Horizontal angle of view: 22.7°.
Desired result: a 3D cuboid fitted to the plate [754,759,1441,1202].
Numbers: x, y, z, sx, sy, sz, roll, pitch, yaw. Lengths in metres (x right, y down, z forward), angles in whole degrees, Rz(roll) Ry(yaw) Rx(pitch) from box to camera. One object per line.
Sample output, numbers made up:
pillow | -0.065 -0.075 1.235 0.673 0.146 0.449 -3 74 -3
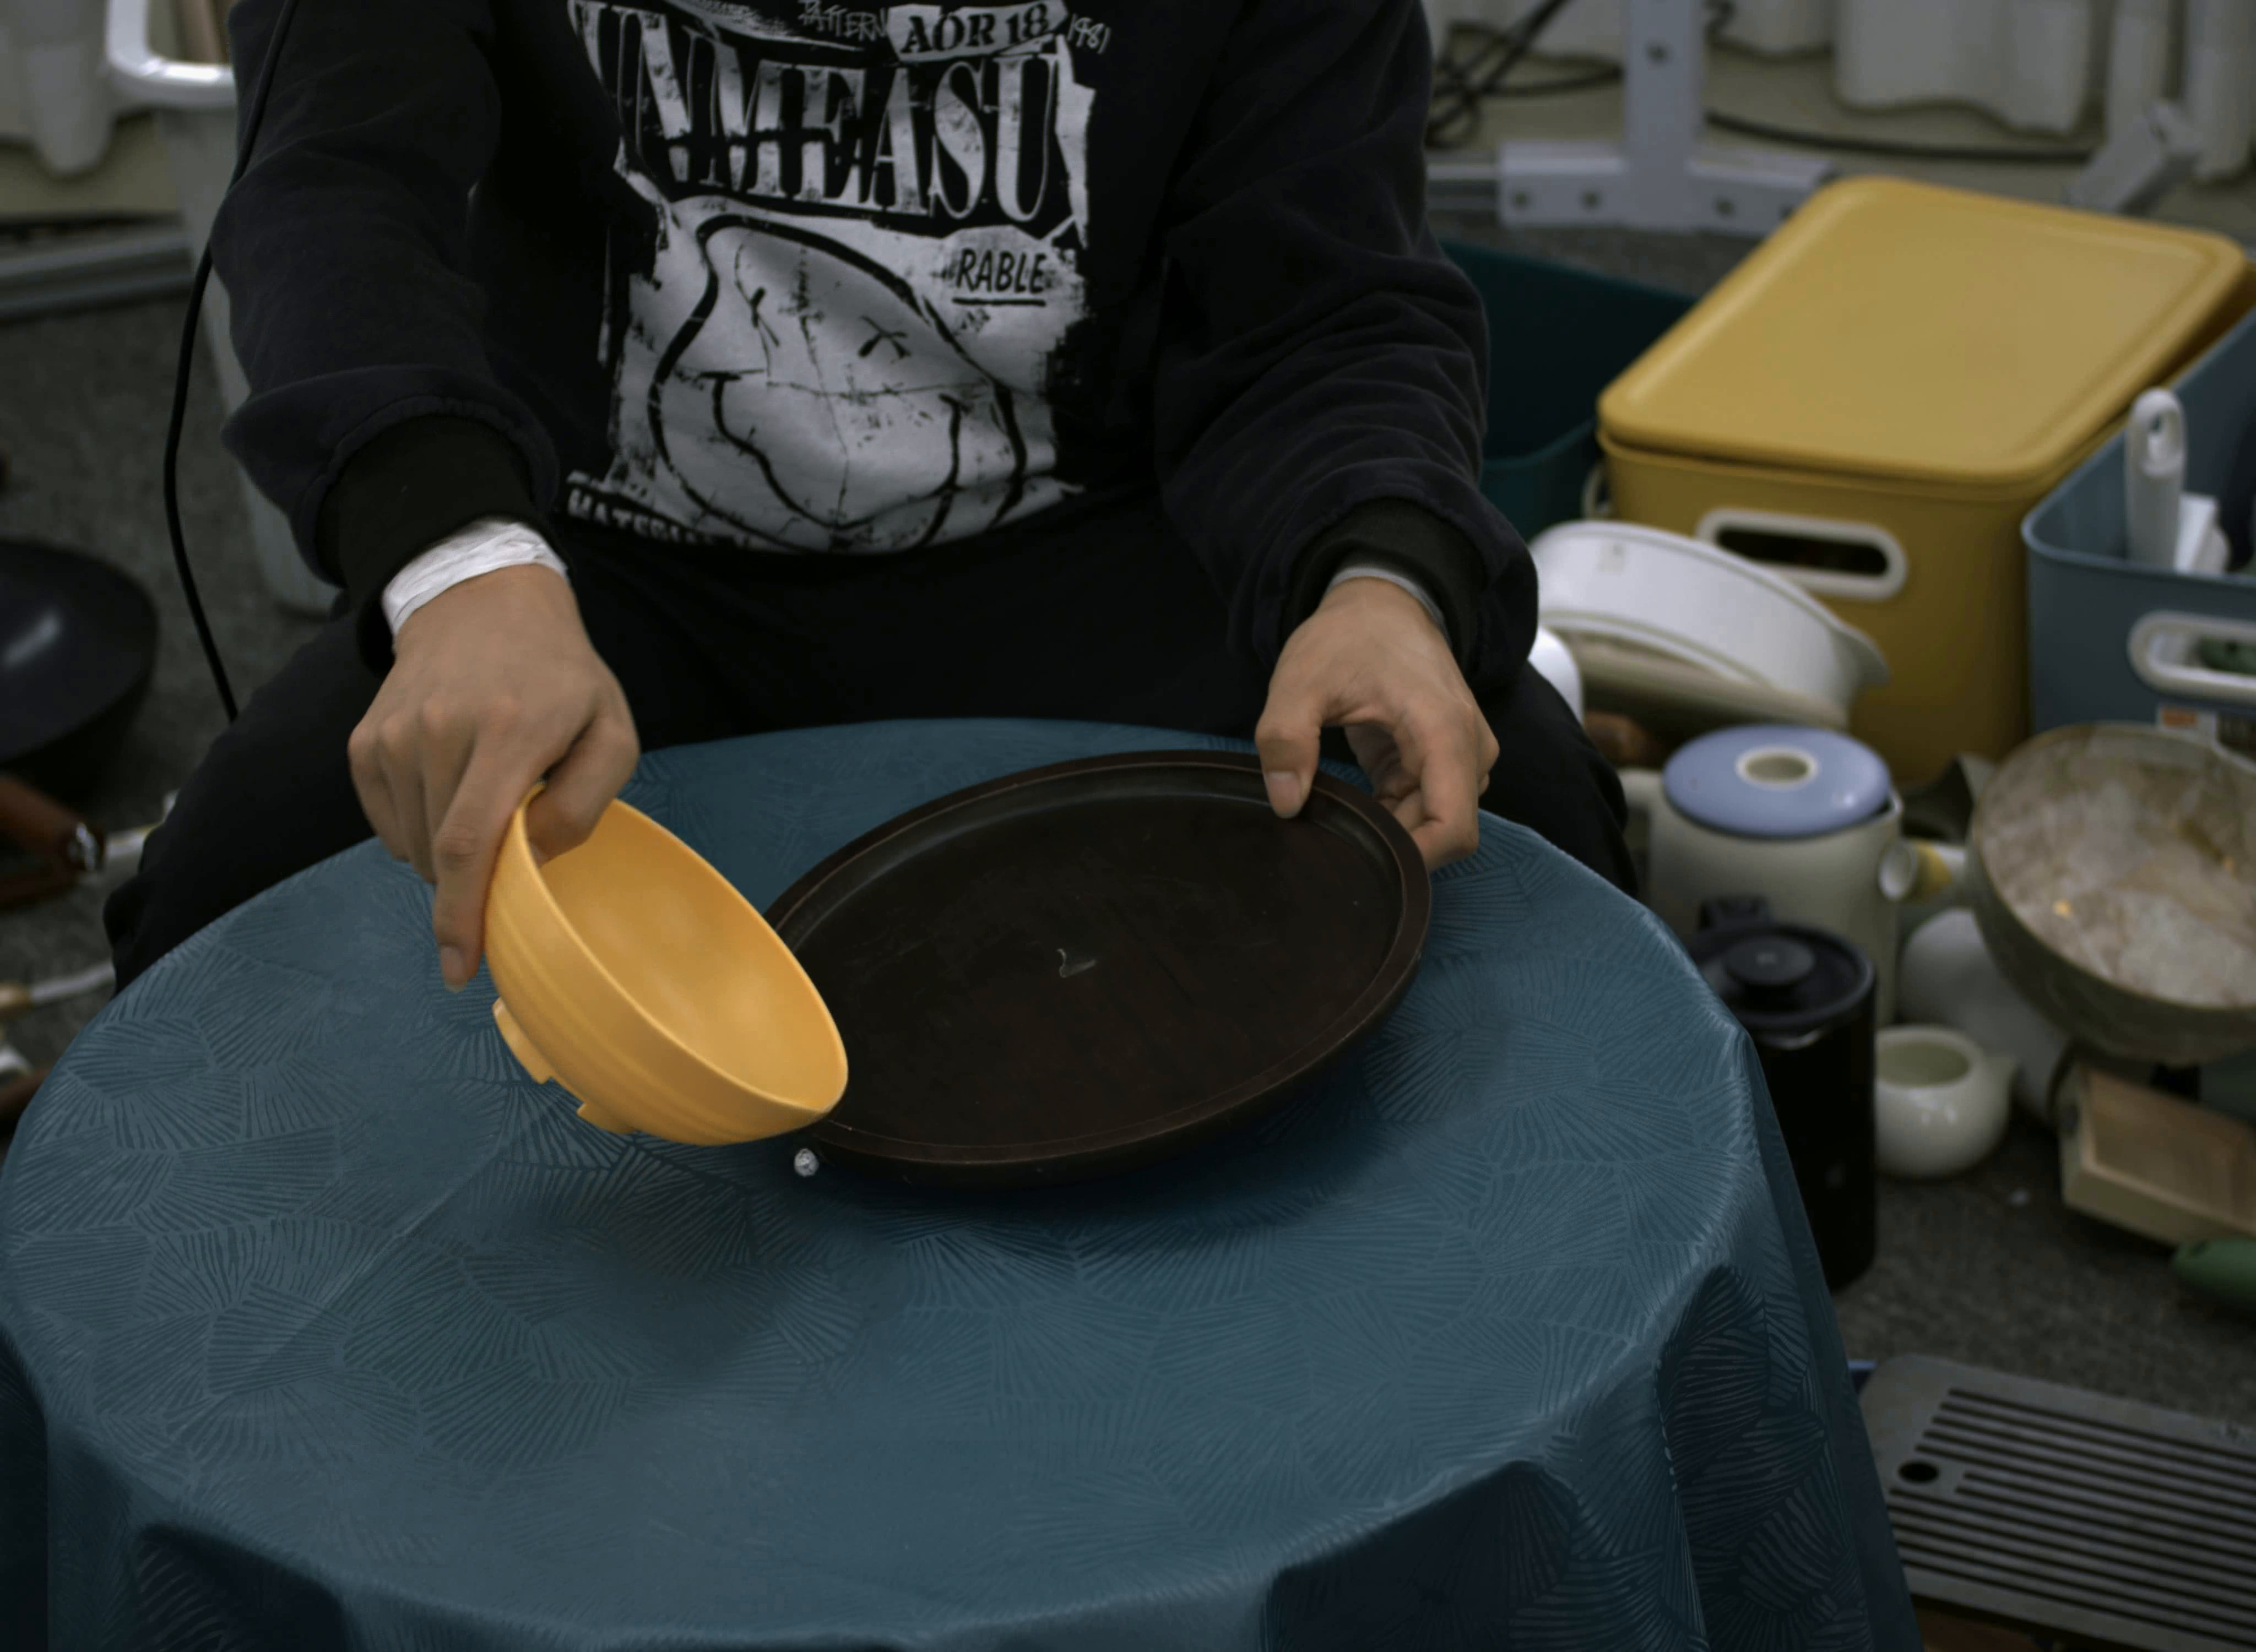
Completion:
plate | -0.015 0.052 1.940 0.253 0.029 0.259 -10 29 6

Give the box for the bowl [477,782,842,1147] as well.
bowl | -0.164 0.058 1.830 0.059 0.144 0.147 -45 25 13
